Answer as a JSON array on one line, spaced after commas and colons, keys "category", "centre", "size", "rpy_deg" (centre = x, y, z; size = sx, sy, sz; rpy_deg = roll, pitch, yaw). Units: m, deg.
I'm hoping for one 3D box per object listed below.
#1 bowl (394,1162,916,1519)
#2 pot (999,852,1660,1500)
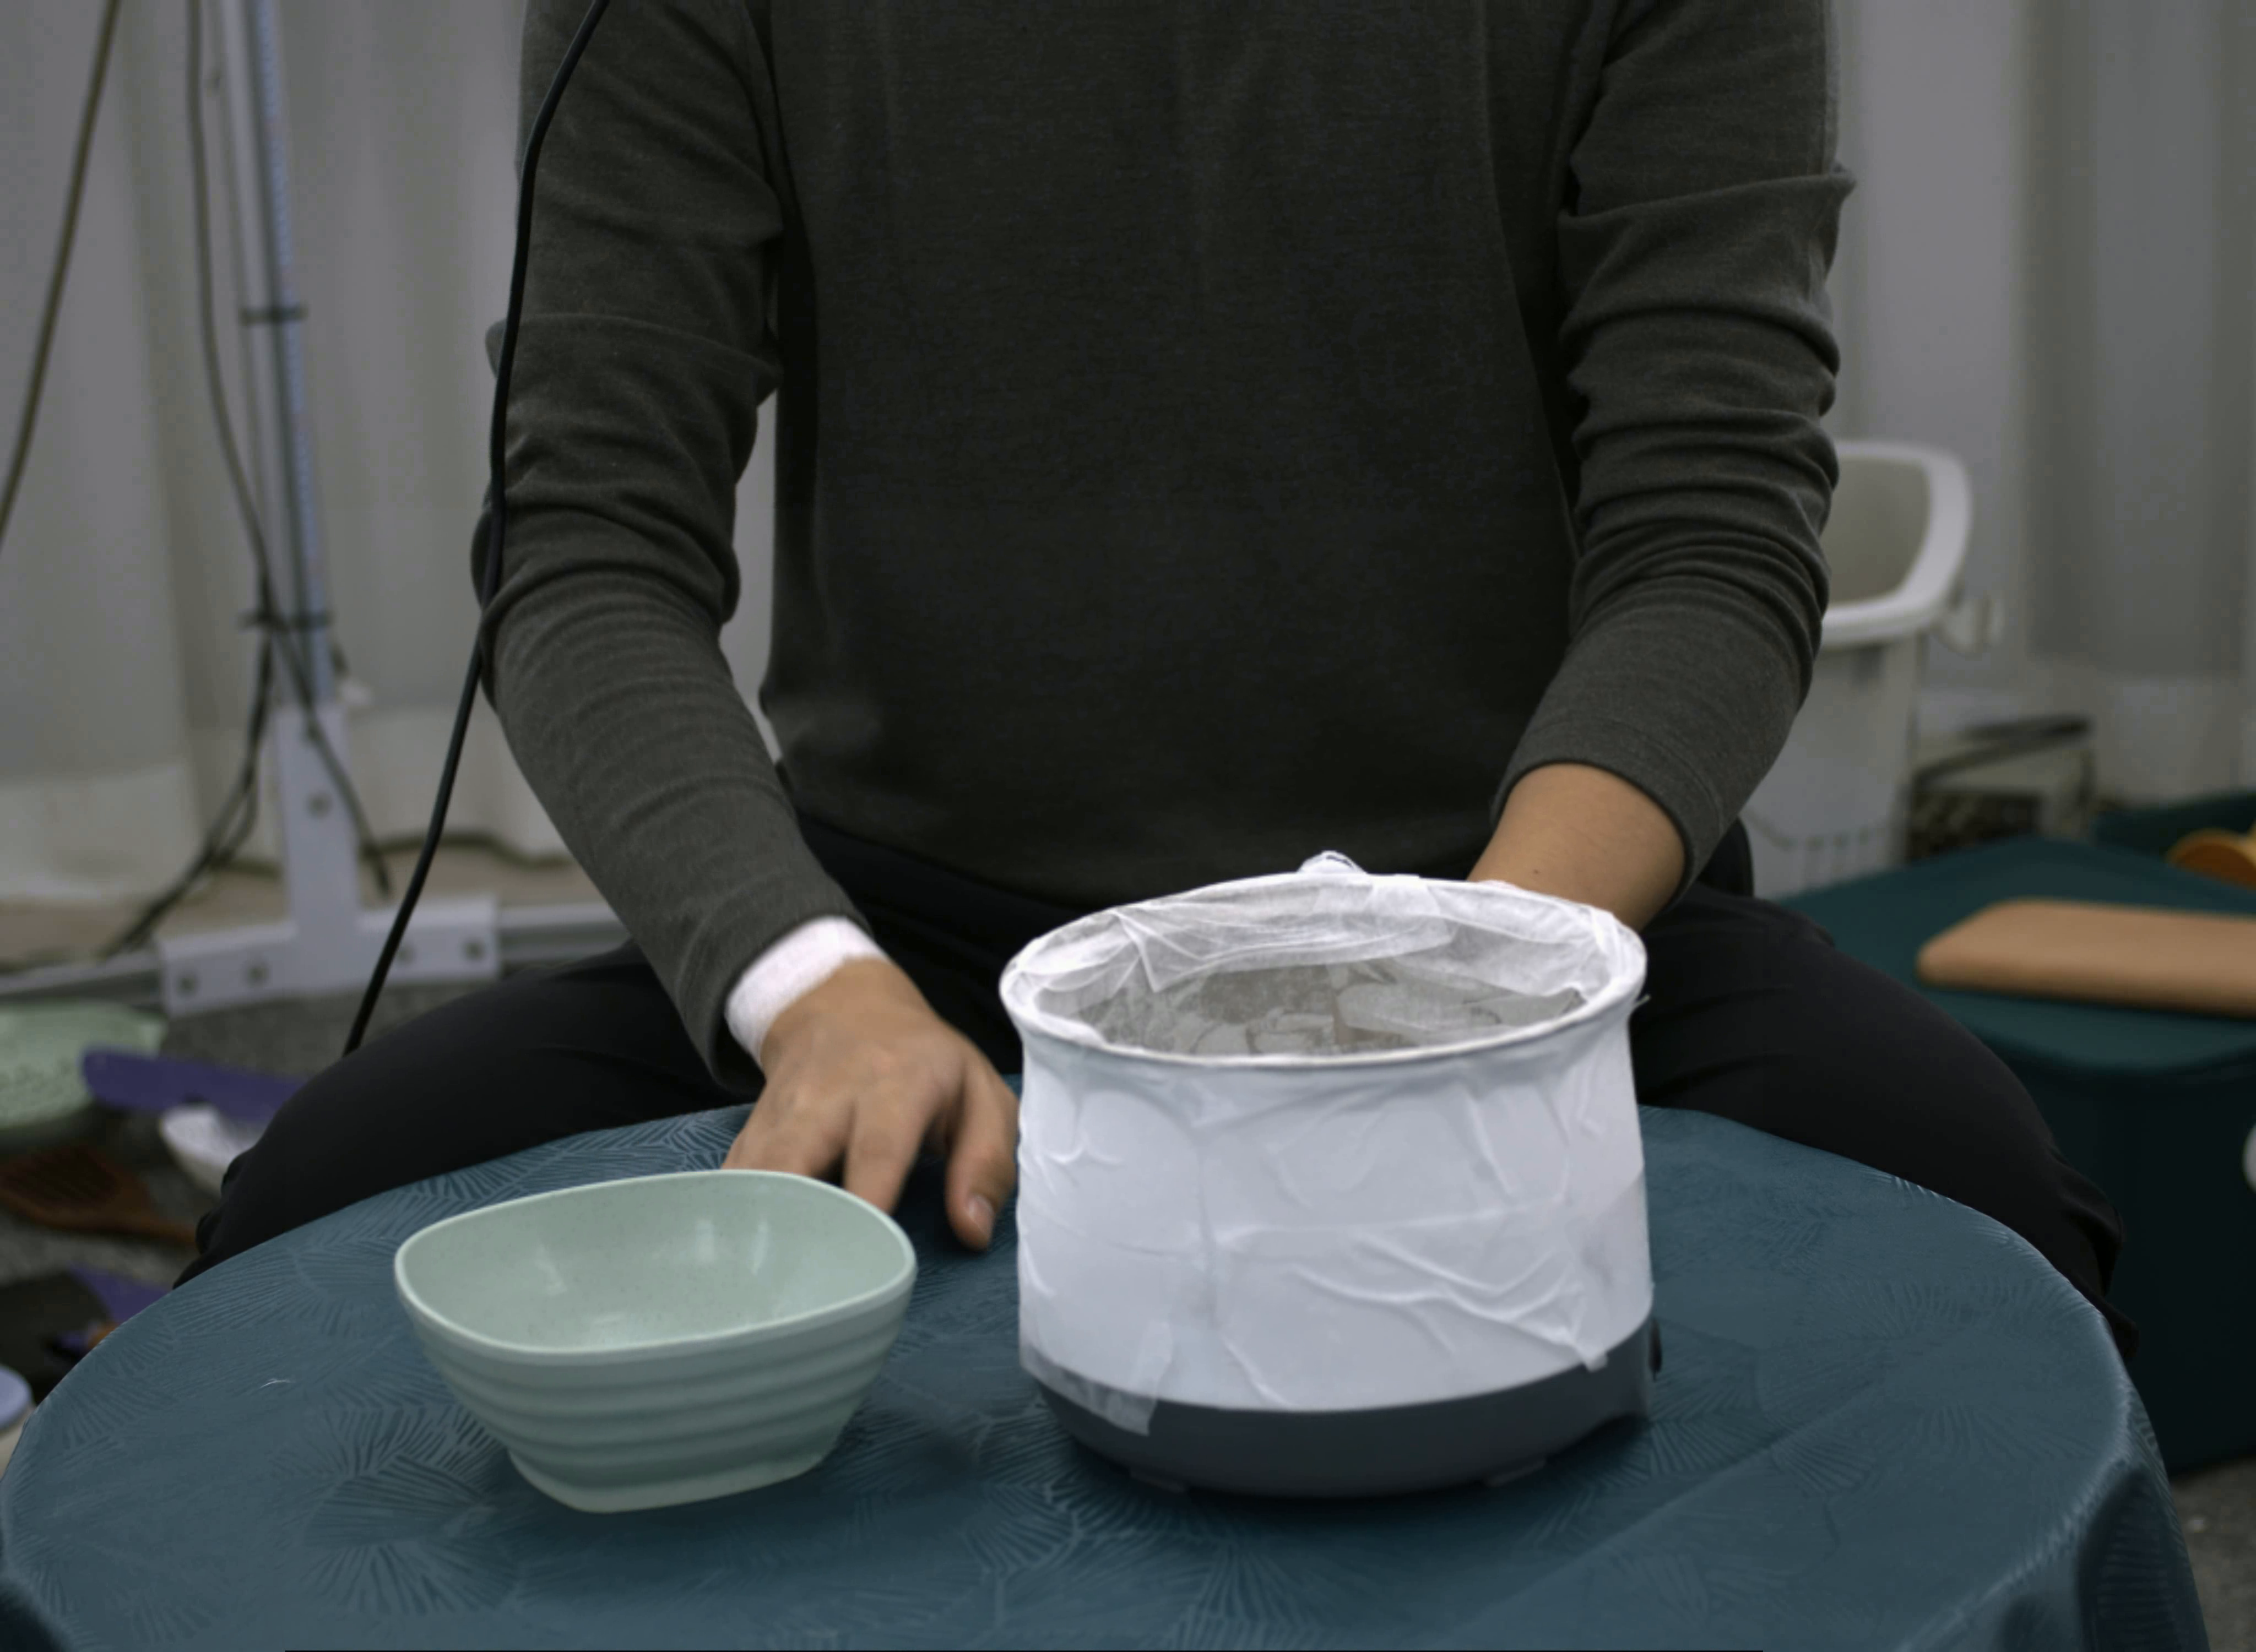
[{"category": "bowl", "centre": [-0.129, 0.146, 1.514], "size": [0.151, 0.058, 0.152], "rpy_deg": [-3, 16, 0]}, {"category": "pot", "centre": [0.057, 0.092, 1.528], "size": [0.178, 0.136, 0.235], "rpy_deg": [-2, 14, 3]}]
